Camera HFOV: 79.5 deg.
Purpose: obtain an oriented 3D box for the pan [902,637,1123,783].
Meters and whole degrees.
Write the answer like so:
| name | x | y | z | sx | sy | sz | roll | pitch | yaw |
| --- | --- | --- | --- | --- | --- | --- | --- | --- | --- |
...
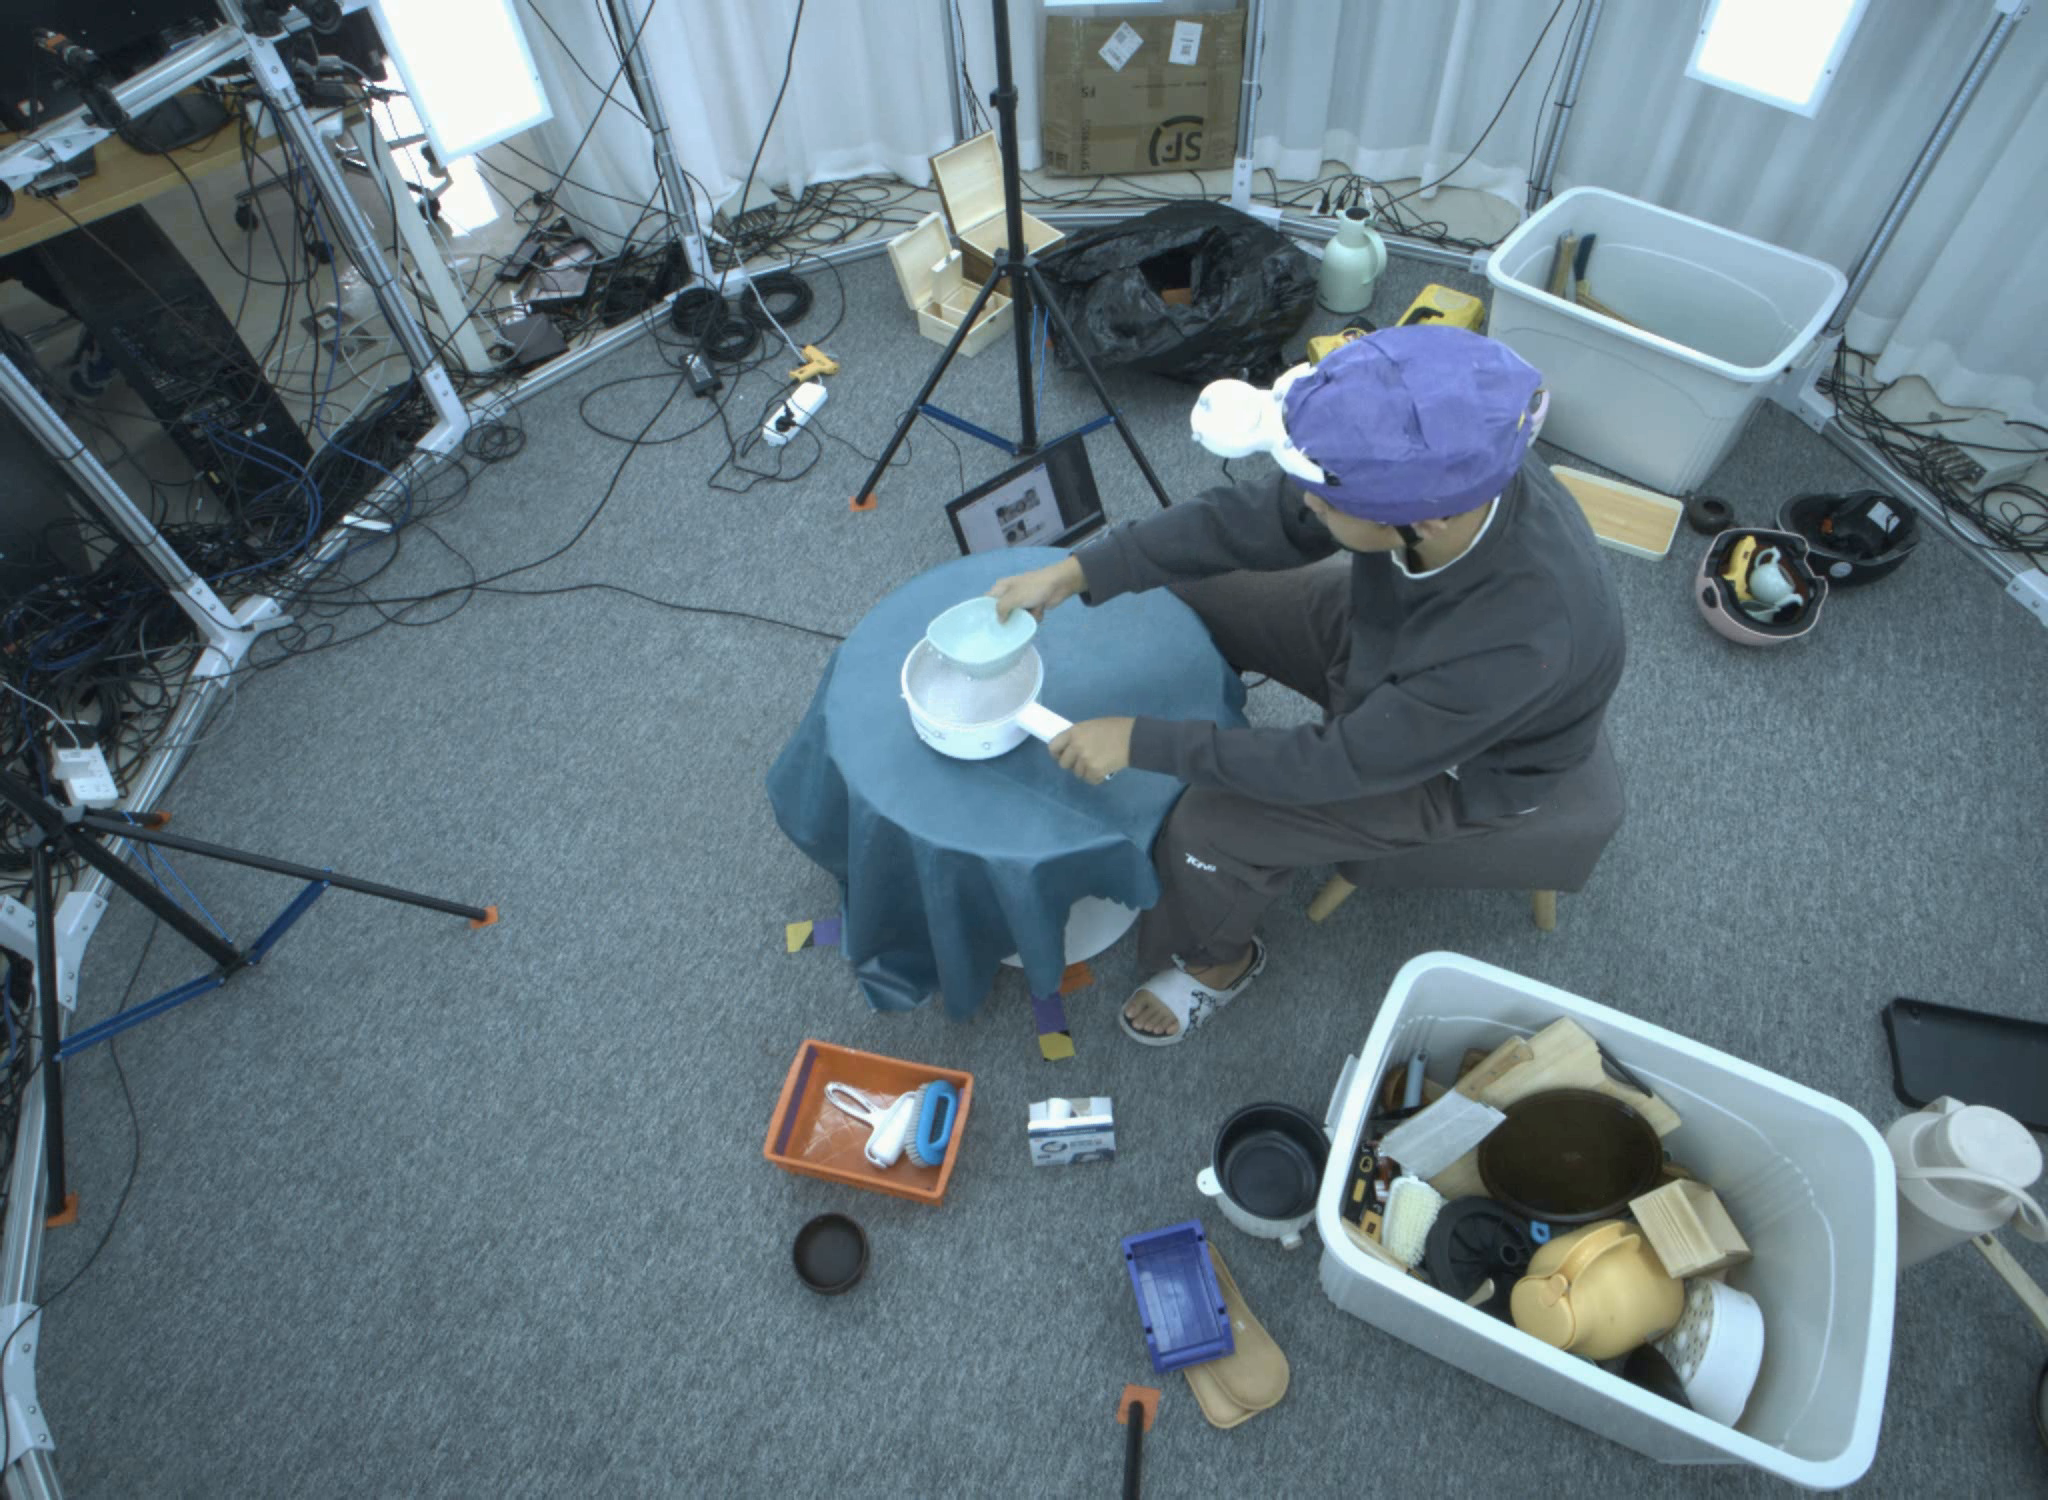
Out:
| name | x | y | z | sx | sy | sz | roll | pitch | yaw |
| --- | --- | --- | --- | --- | --- | --- | --- | --- | --- |
| pan | -0.013 | -0.041 | 1.763 | 0.349 | 0.103 | 0.202 | 32 | 59 | 20 |

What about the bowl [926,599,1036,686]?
| name | x | y | z | sx | sy | sz | roll | pitch | yaw |
| --- | --- | --- | --- | --- | --- | --- | --- | --- | --- |
| bowl | -0.056 | -0.141 | 1.693 | 0.151 | 0.059 | 0.150 | -3 | 43 | 4 |
